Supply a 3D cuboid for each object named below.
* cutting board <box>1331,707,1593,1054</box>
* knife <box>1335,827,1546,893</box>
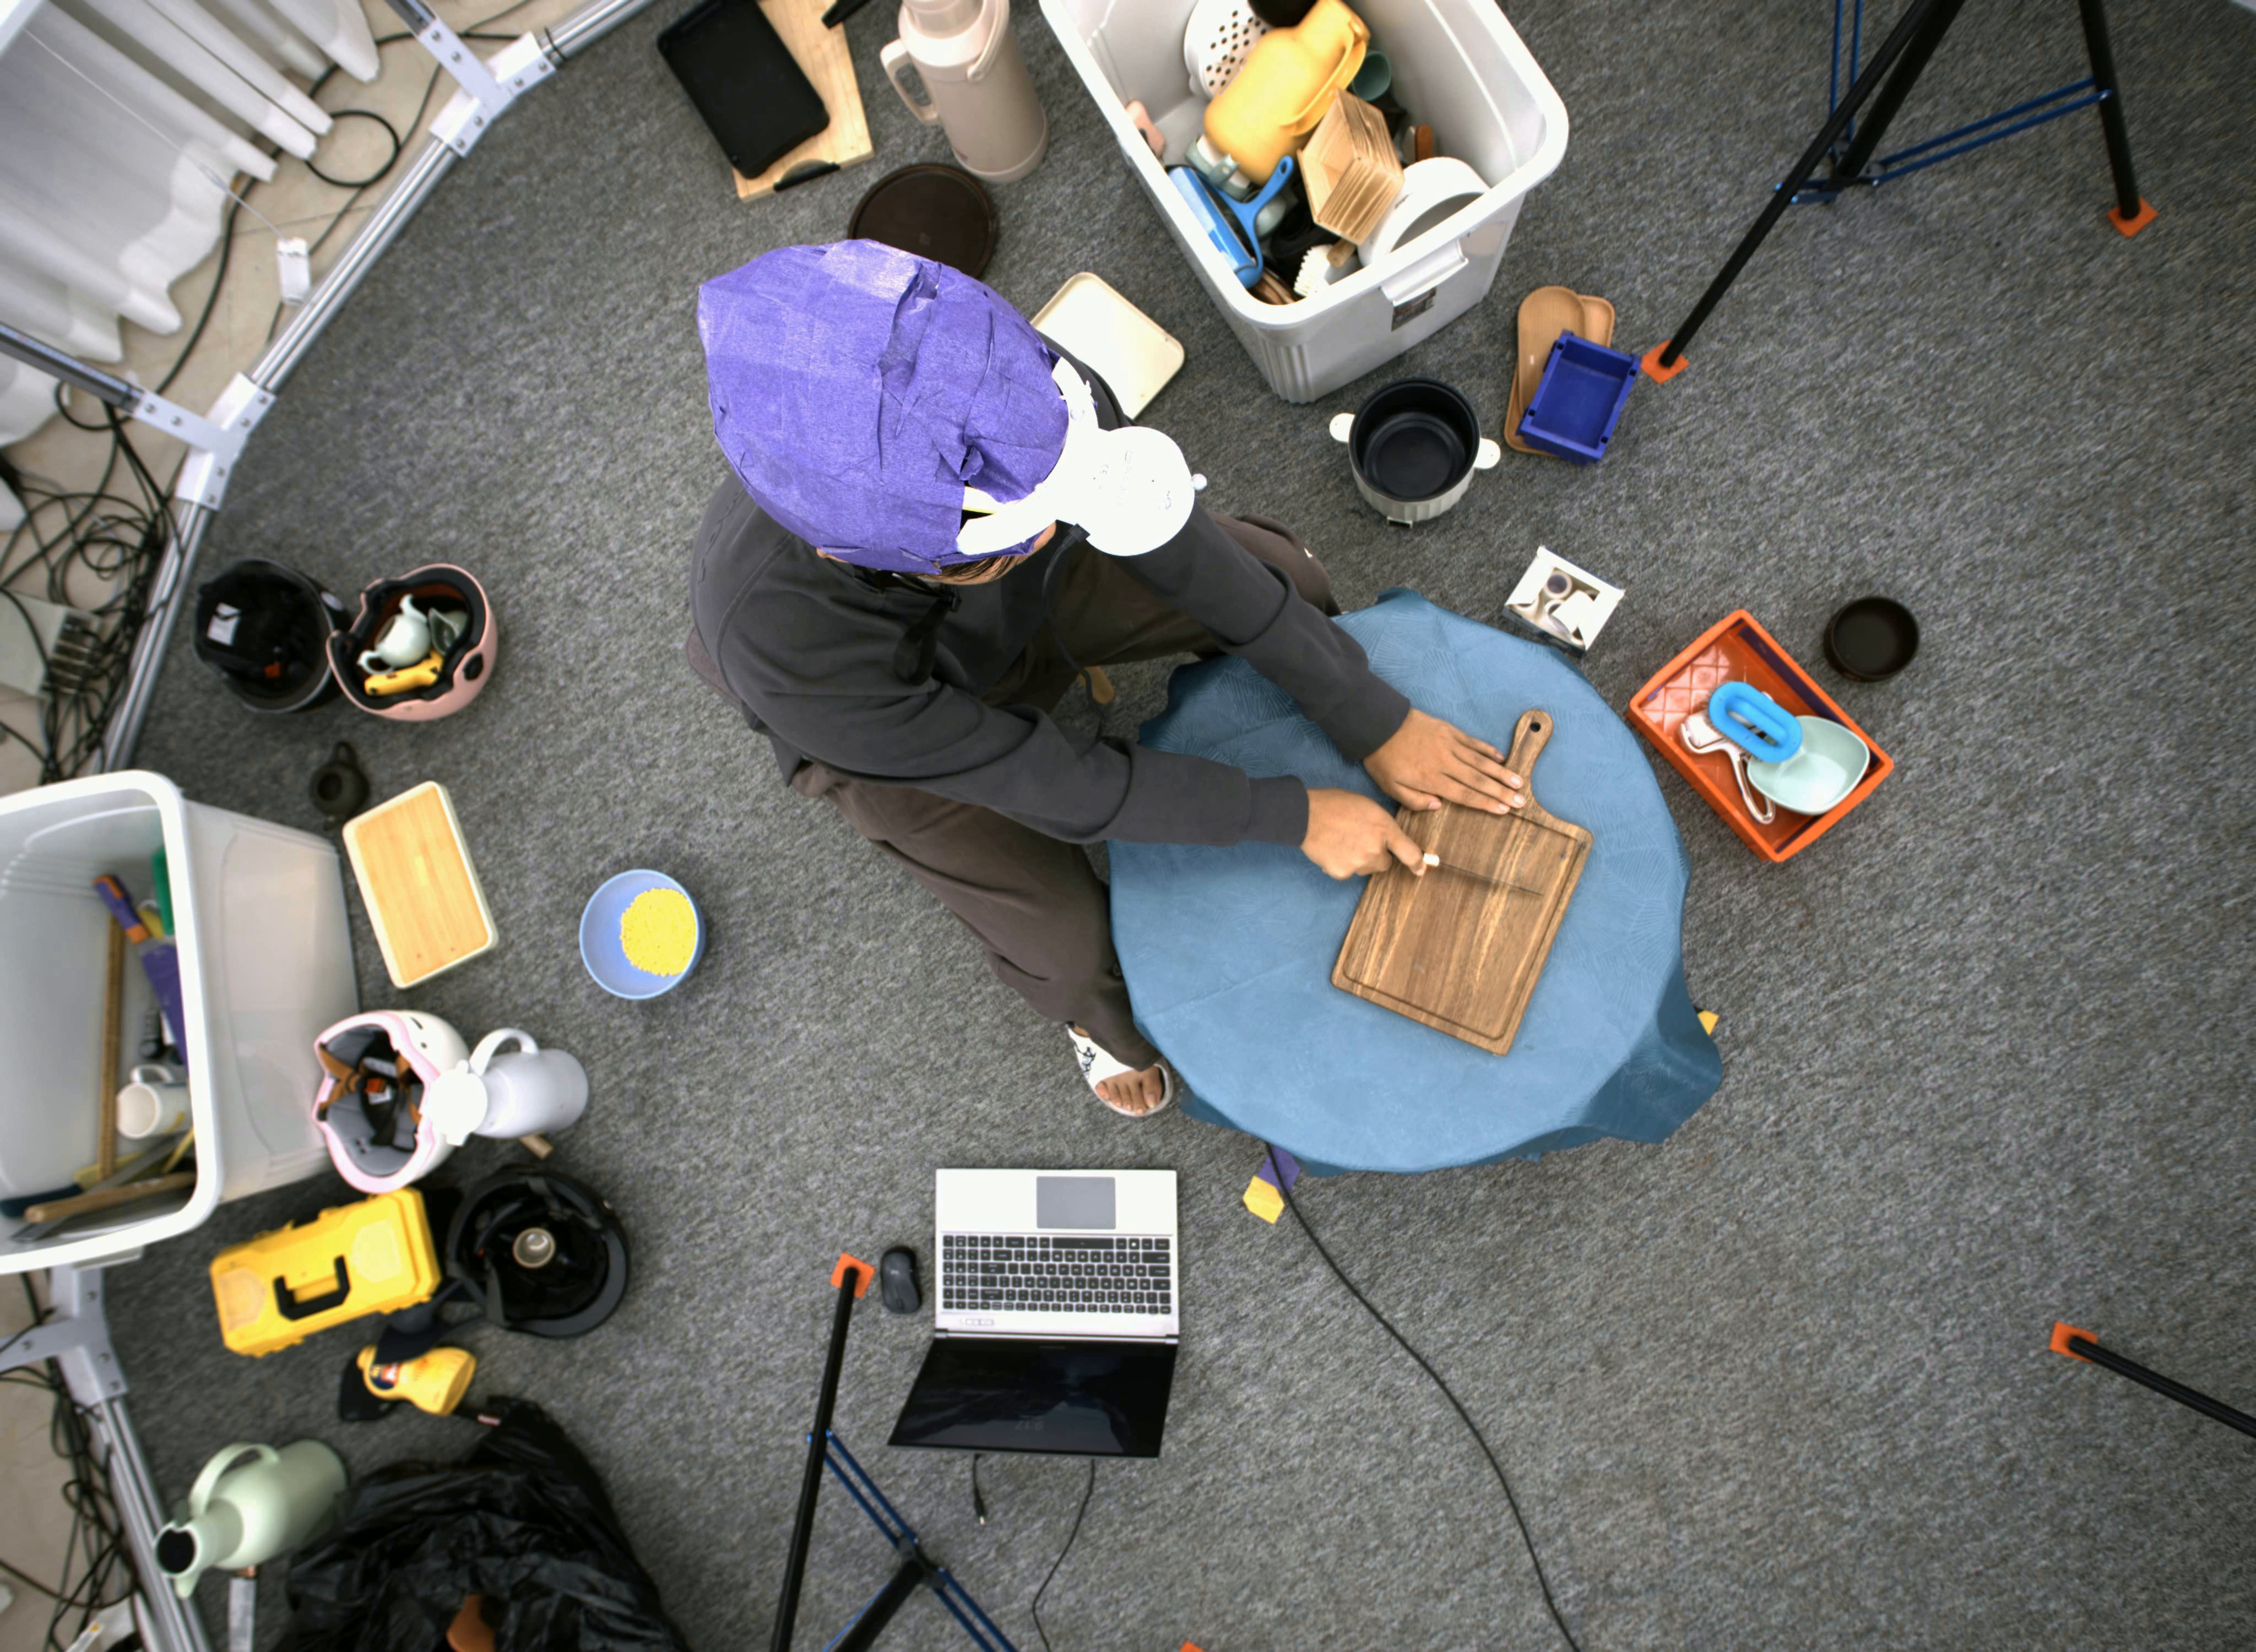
[{"bbox_3d":[0.365,0.039,1.434,0.201,0.023,0.352,22,91,11],"label":"cutting board"},{"bbox_3d":[0.323,0.035,1.425,0.226,0.026,0.017,16,95,8],"label":"knife"}]
